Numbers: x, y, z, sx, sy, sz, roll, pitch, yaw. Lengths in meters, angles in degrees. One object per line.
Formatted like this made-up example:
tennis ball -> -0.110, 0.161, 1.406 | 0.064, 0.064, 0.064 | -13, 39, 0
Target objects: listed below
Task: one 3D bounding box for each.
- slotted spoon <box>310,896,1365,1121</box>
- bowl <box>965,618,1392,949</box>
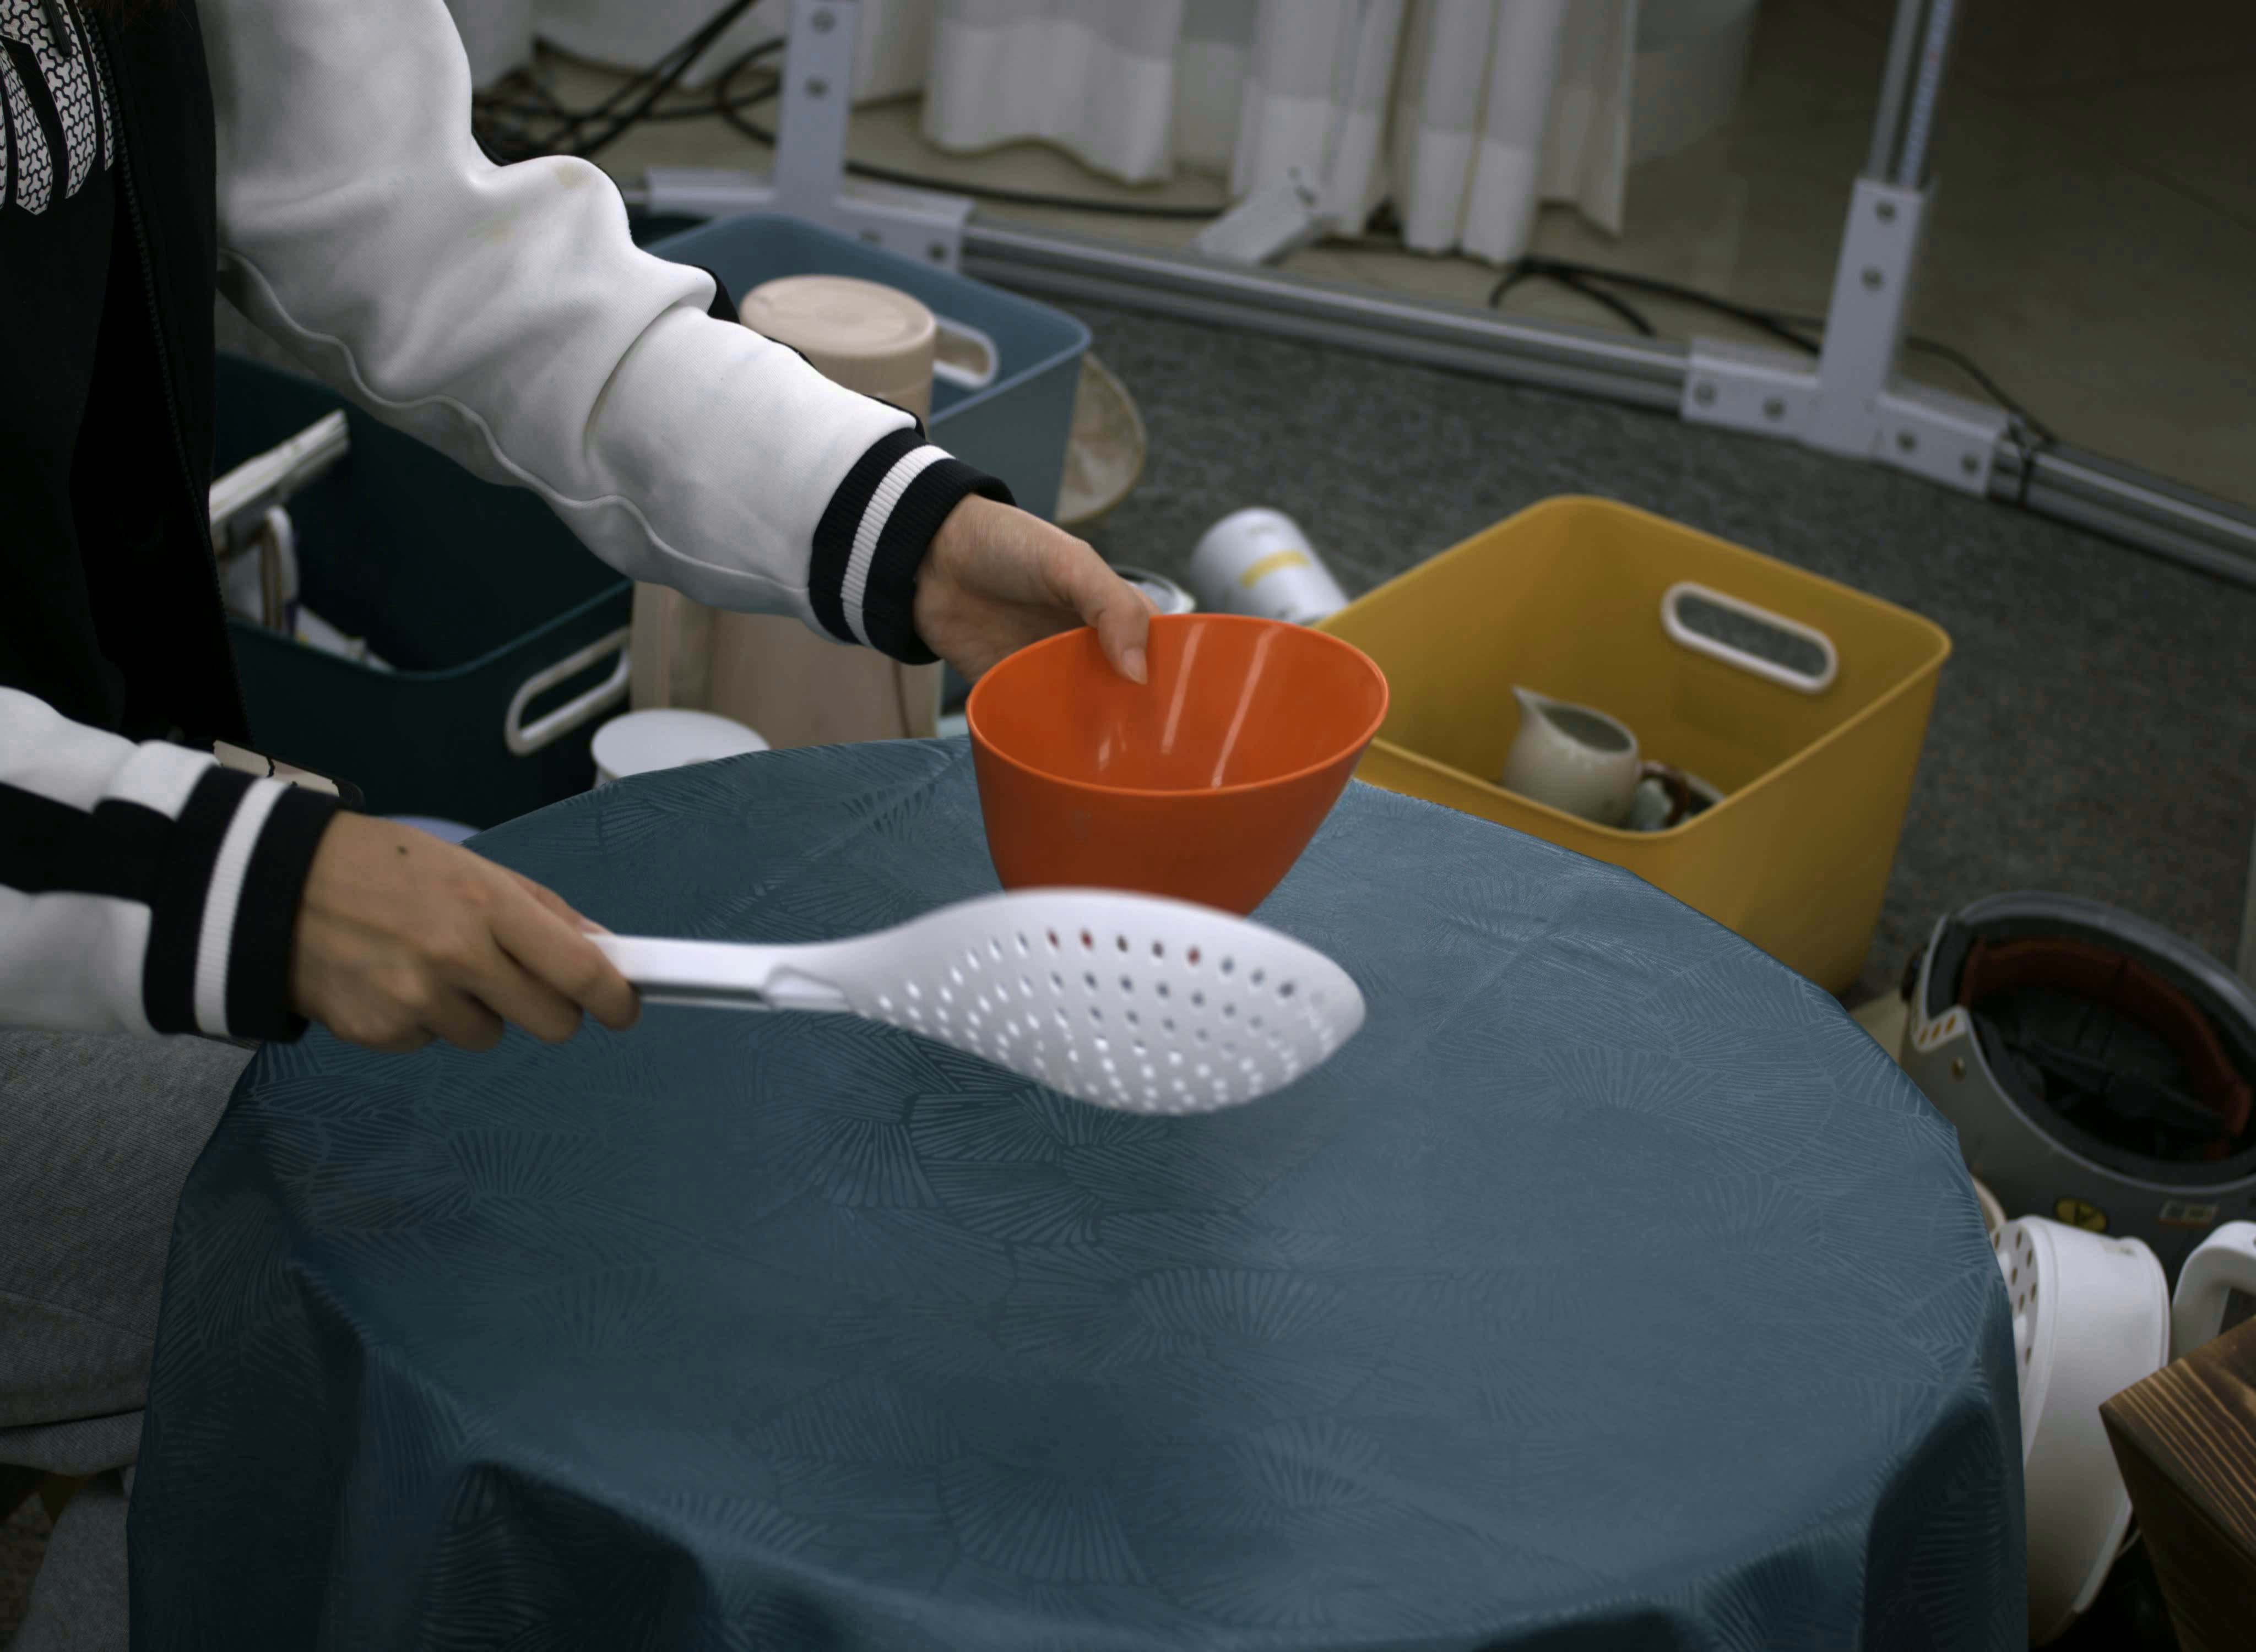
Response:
slotted spoon -> -0.097, 0.050, 1.668 | 0.350, 0.135, 0.046 | 8, 69, 21
bowl -> 0.013, -0.005, 1.876 | 0.147, 0.104, 0.149 | 6, 25, -3
